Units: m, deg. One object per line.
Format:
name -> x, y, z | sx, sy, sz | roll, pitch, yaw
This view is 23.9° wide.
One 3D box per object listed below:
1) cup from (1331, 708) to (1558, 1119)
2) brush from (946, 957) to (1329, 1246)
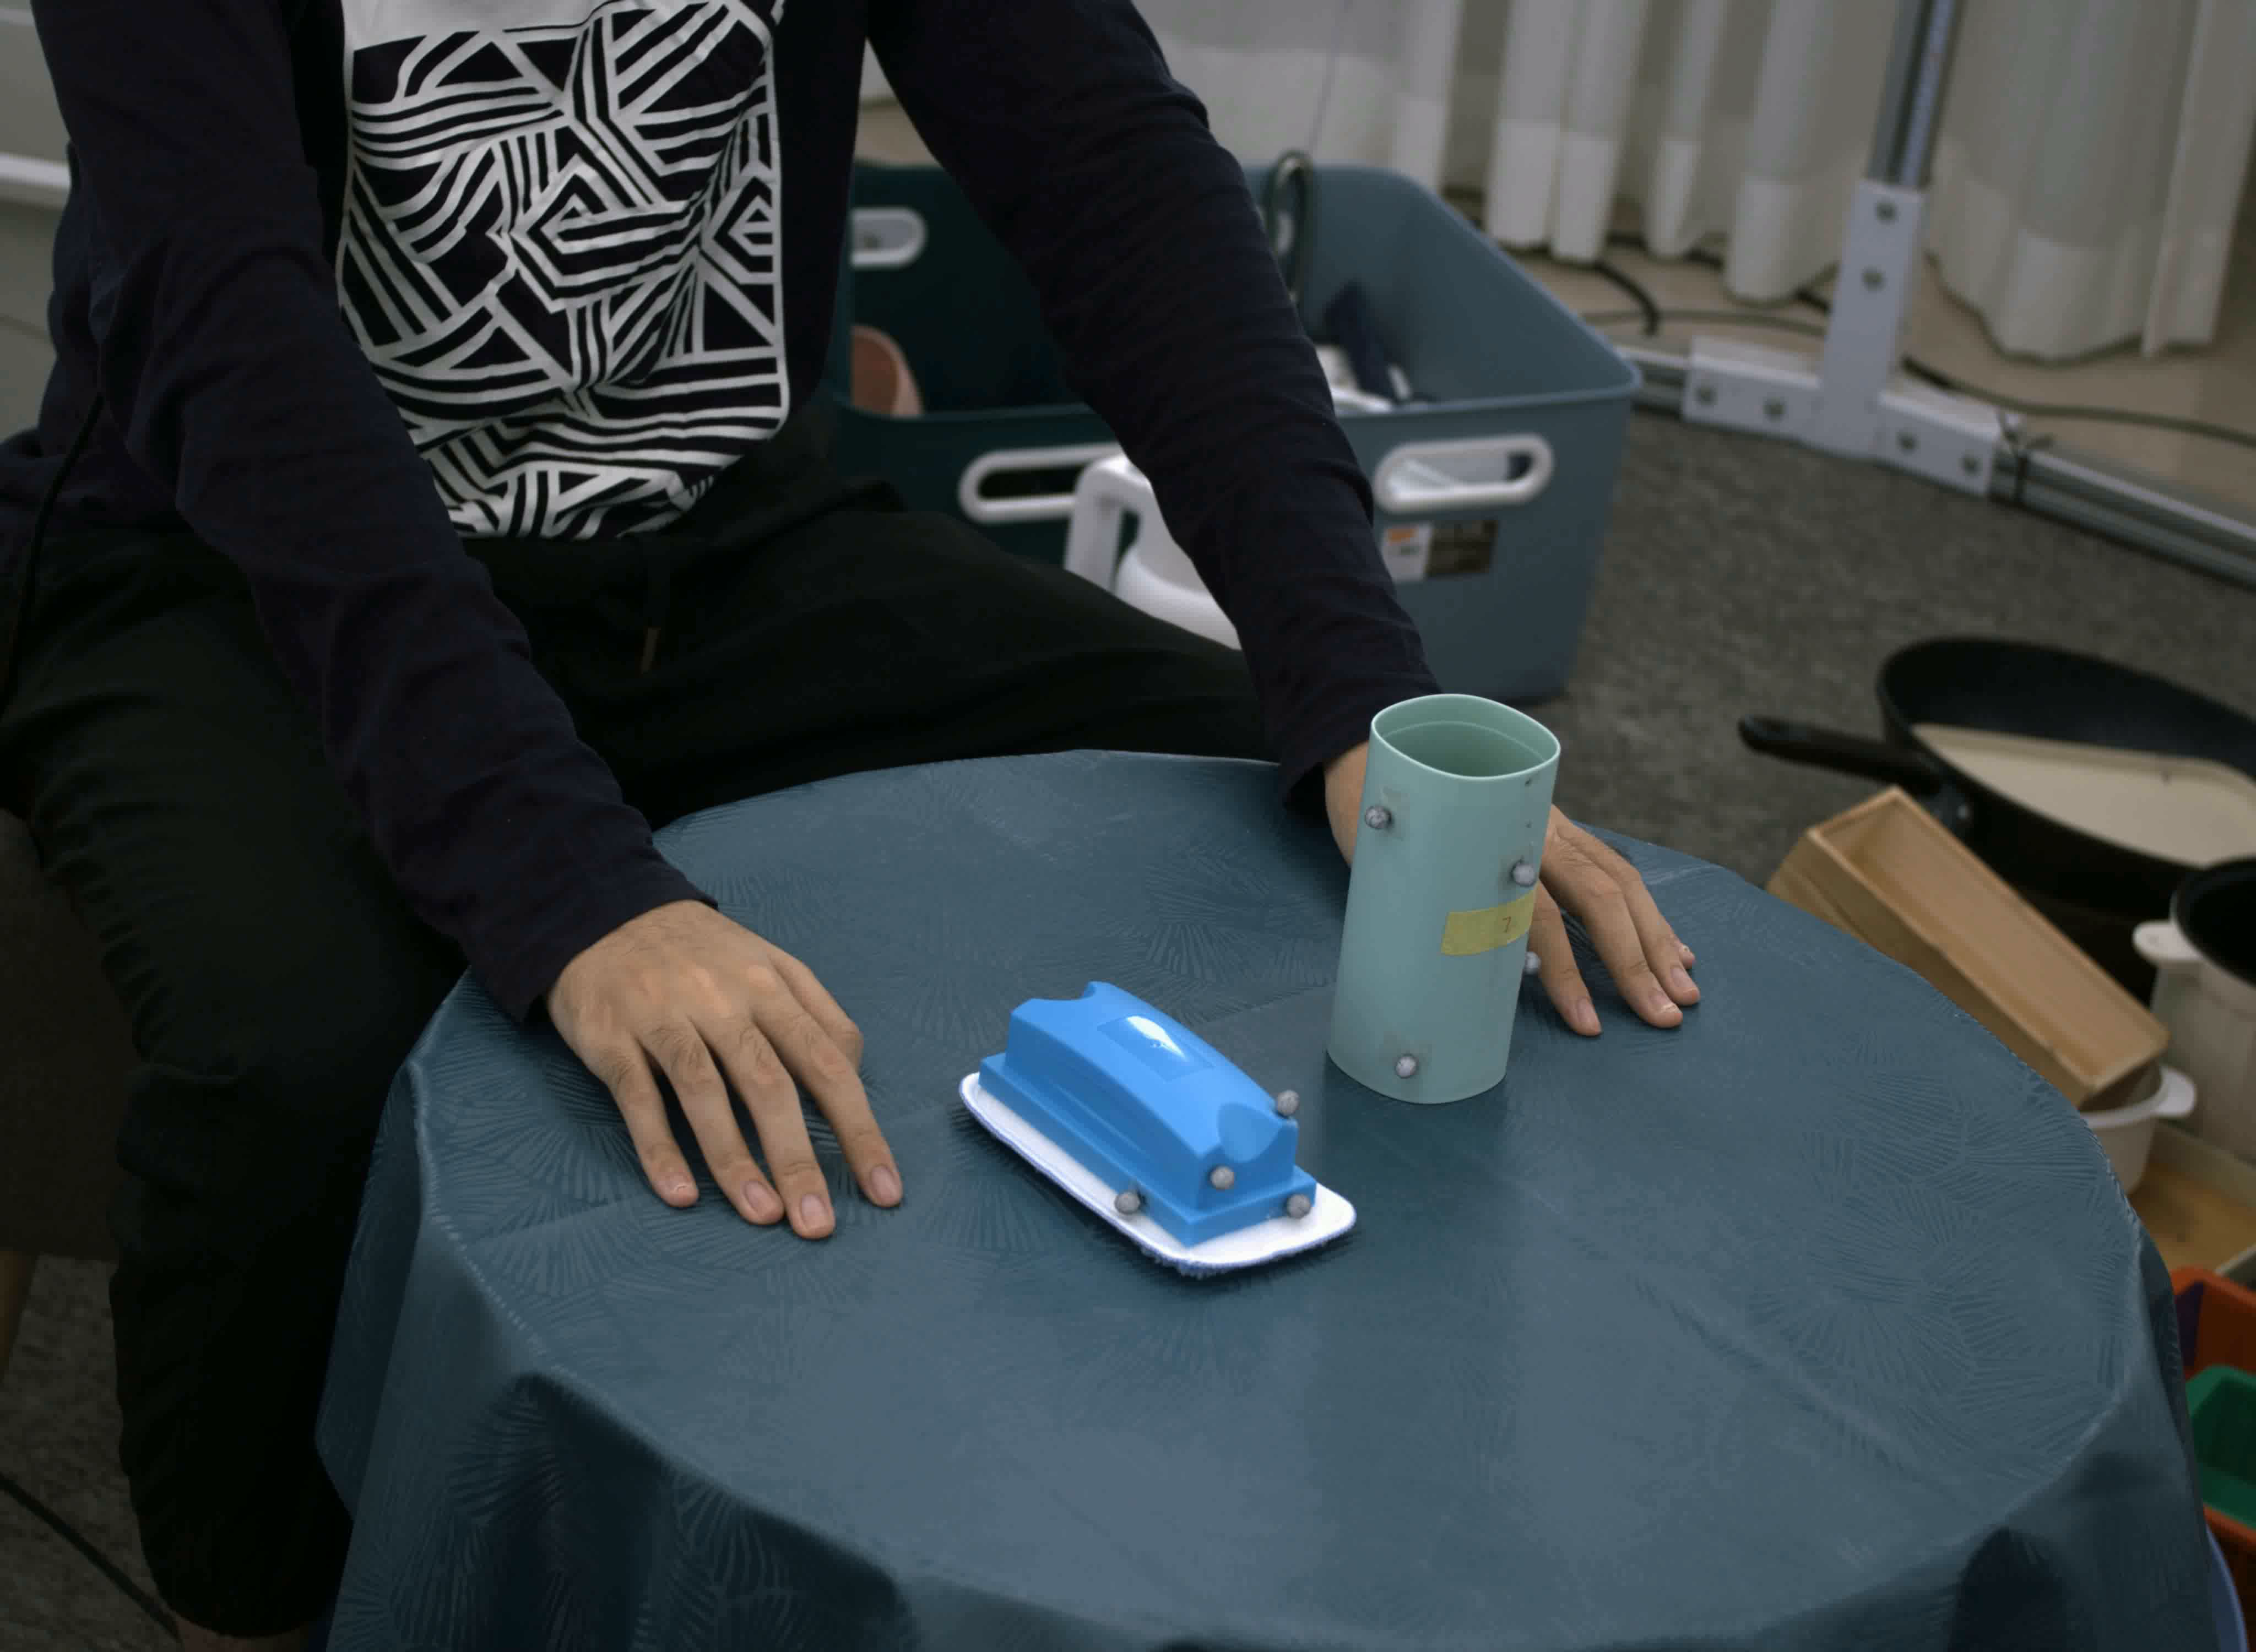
cup -> 0.110, 0.030, 1.882 | 0.066, 0.132, 0.067 | 4, 26, -3
brush -> 0.006, 0.089, 1.809 | 0.083, 0.056, 0.145 | -9, 33, -34
